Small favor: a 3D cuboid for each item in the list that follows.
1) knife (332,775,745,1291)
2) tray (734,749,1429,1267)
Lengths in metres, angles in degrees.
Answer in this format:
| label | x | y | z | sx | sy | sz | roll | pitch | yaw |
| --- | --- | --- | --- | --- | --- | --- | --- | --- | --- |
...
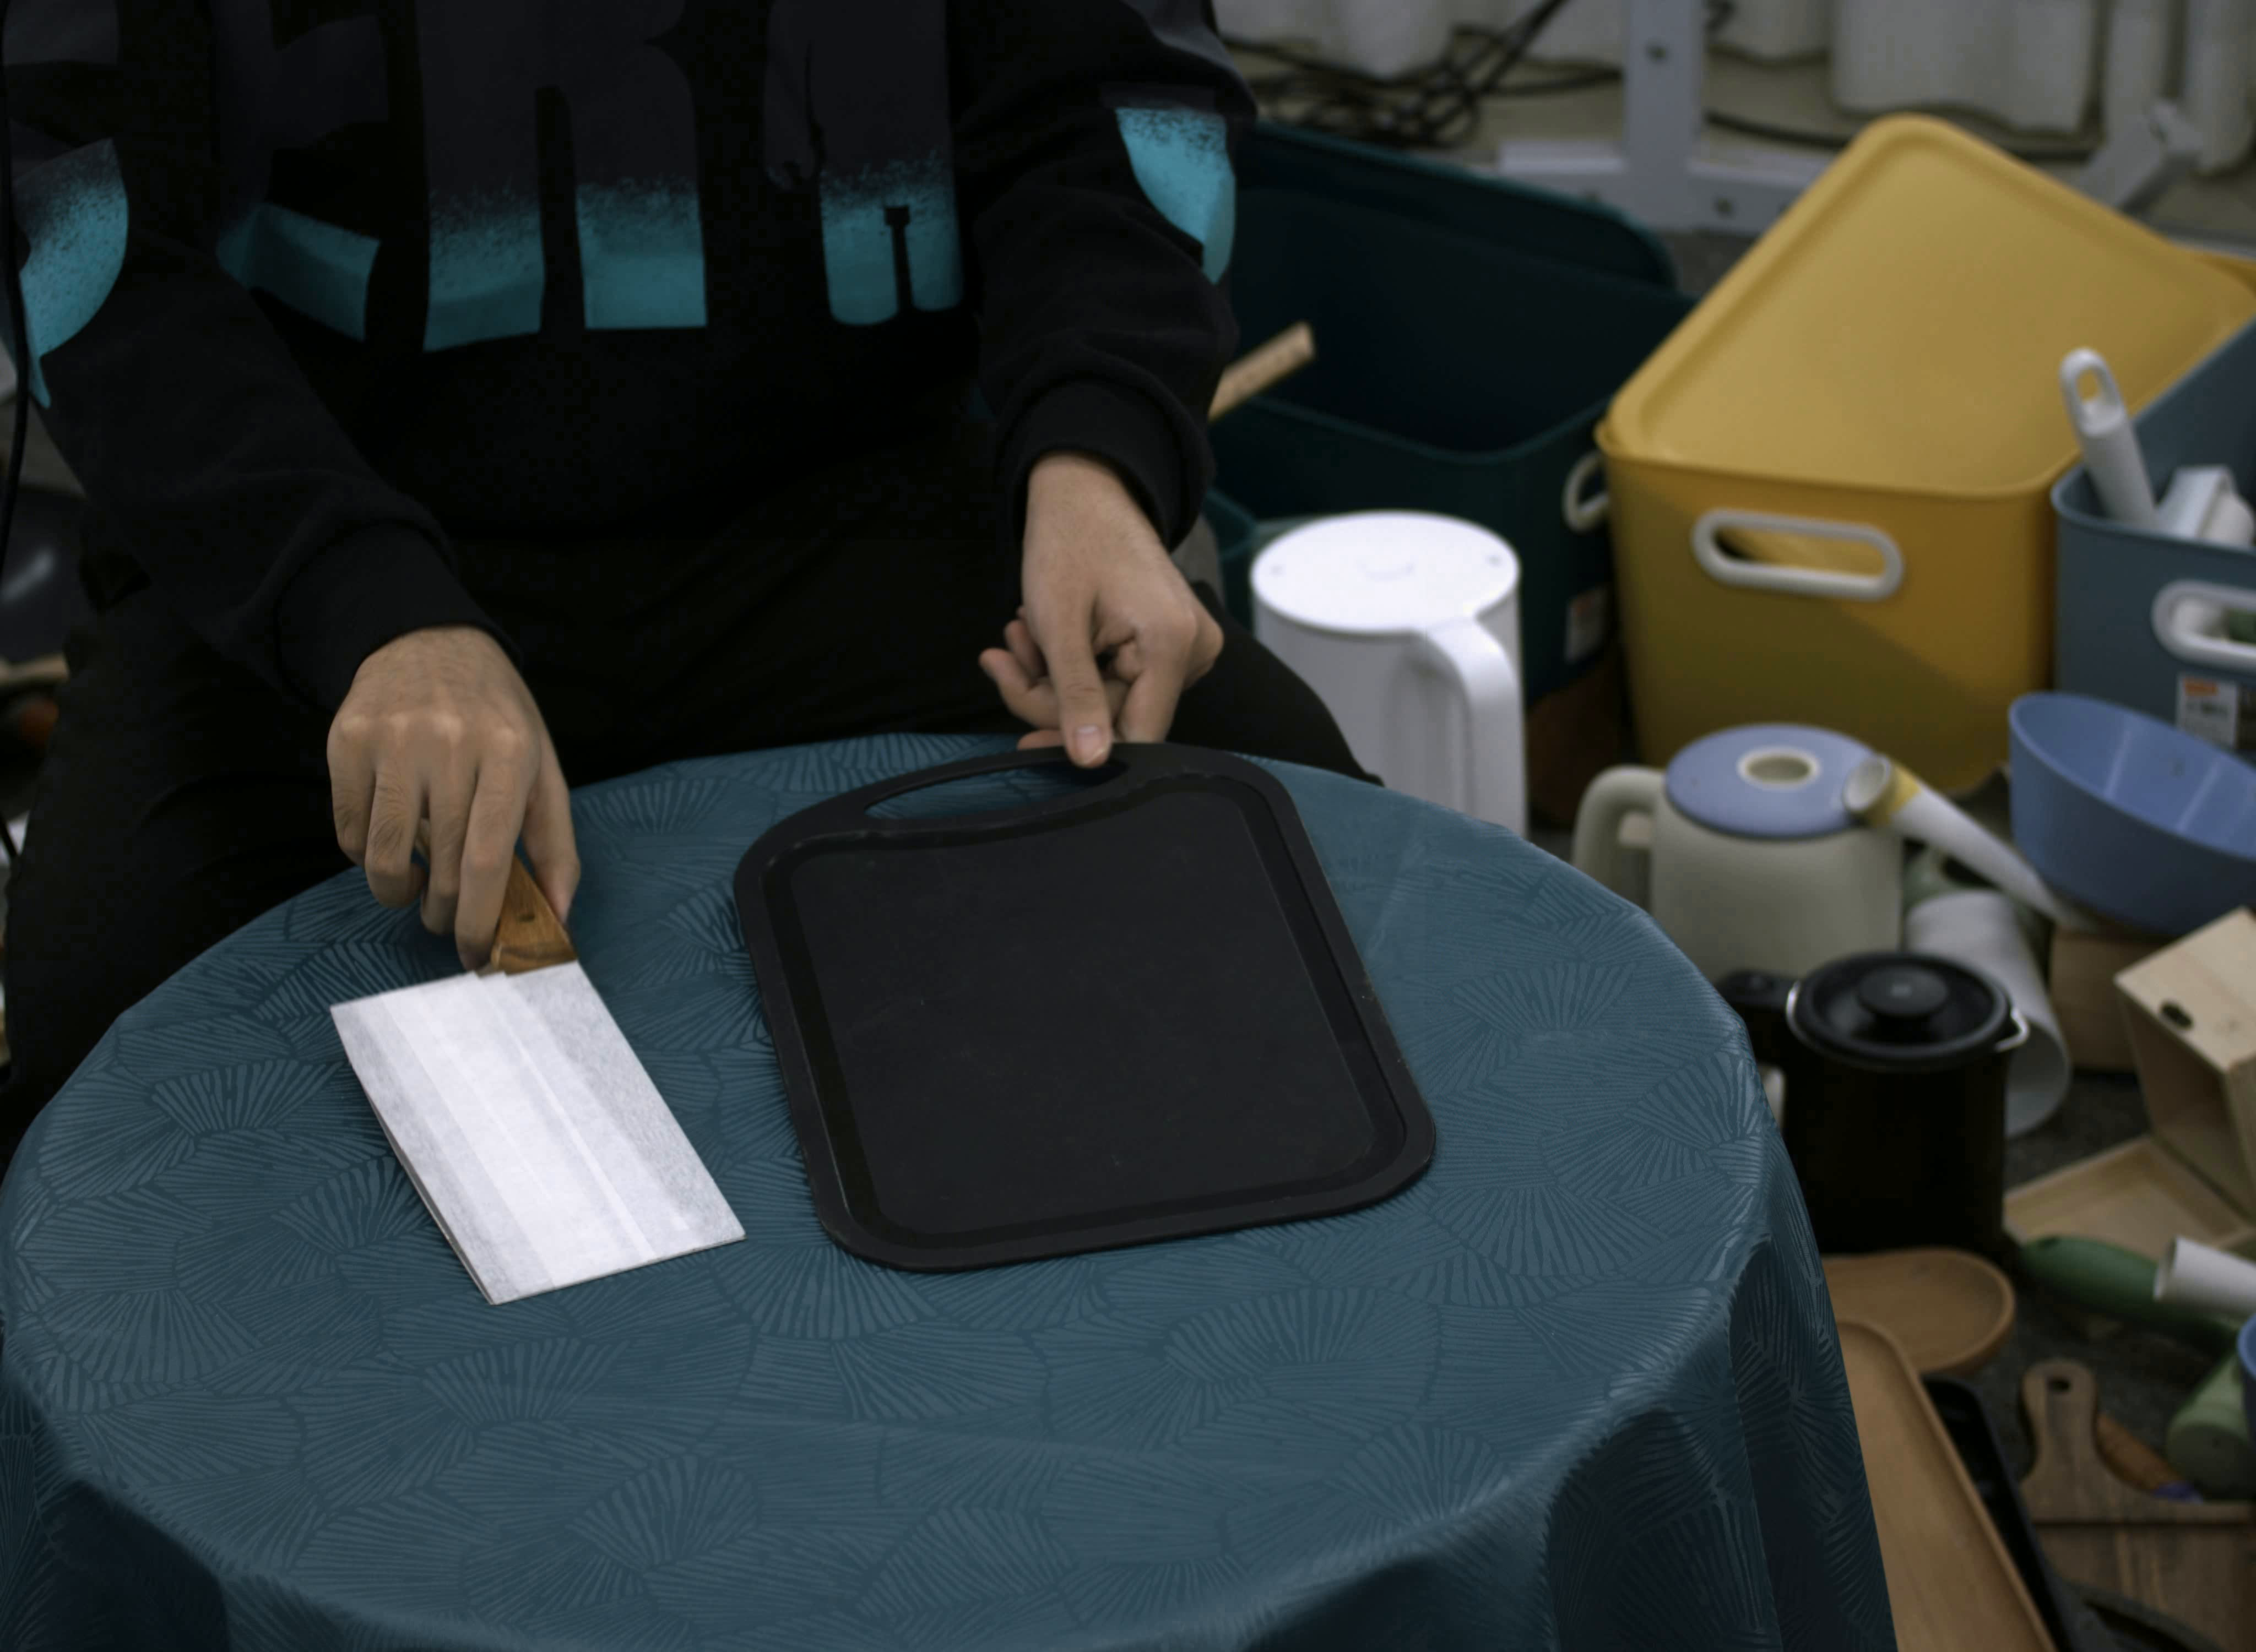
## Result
| label | x | y | z | sx | sy | sz | roll | pitch | yaw |
| --- | --- | --- | --- | --- | --- | --- | --- | --- | --- |
| knife | -0.223 | 0.071 | 1.950 | 0.093 | 0.021 | 0.308 | -14 | 35 | -18 |
| tray | -0.024 | 0.054 | 1.971 | 0.211 | 0.009 | 0.330 | -8 | 30 | -8 |
